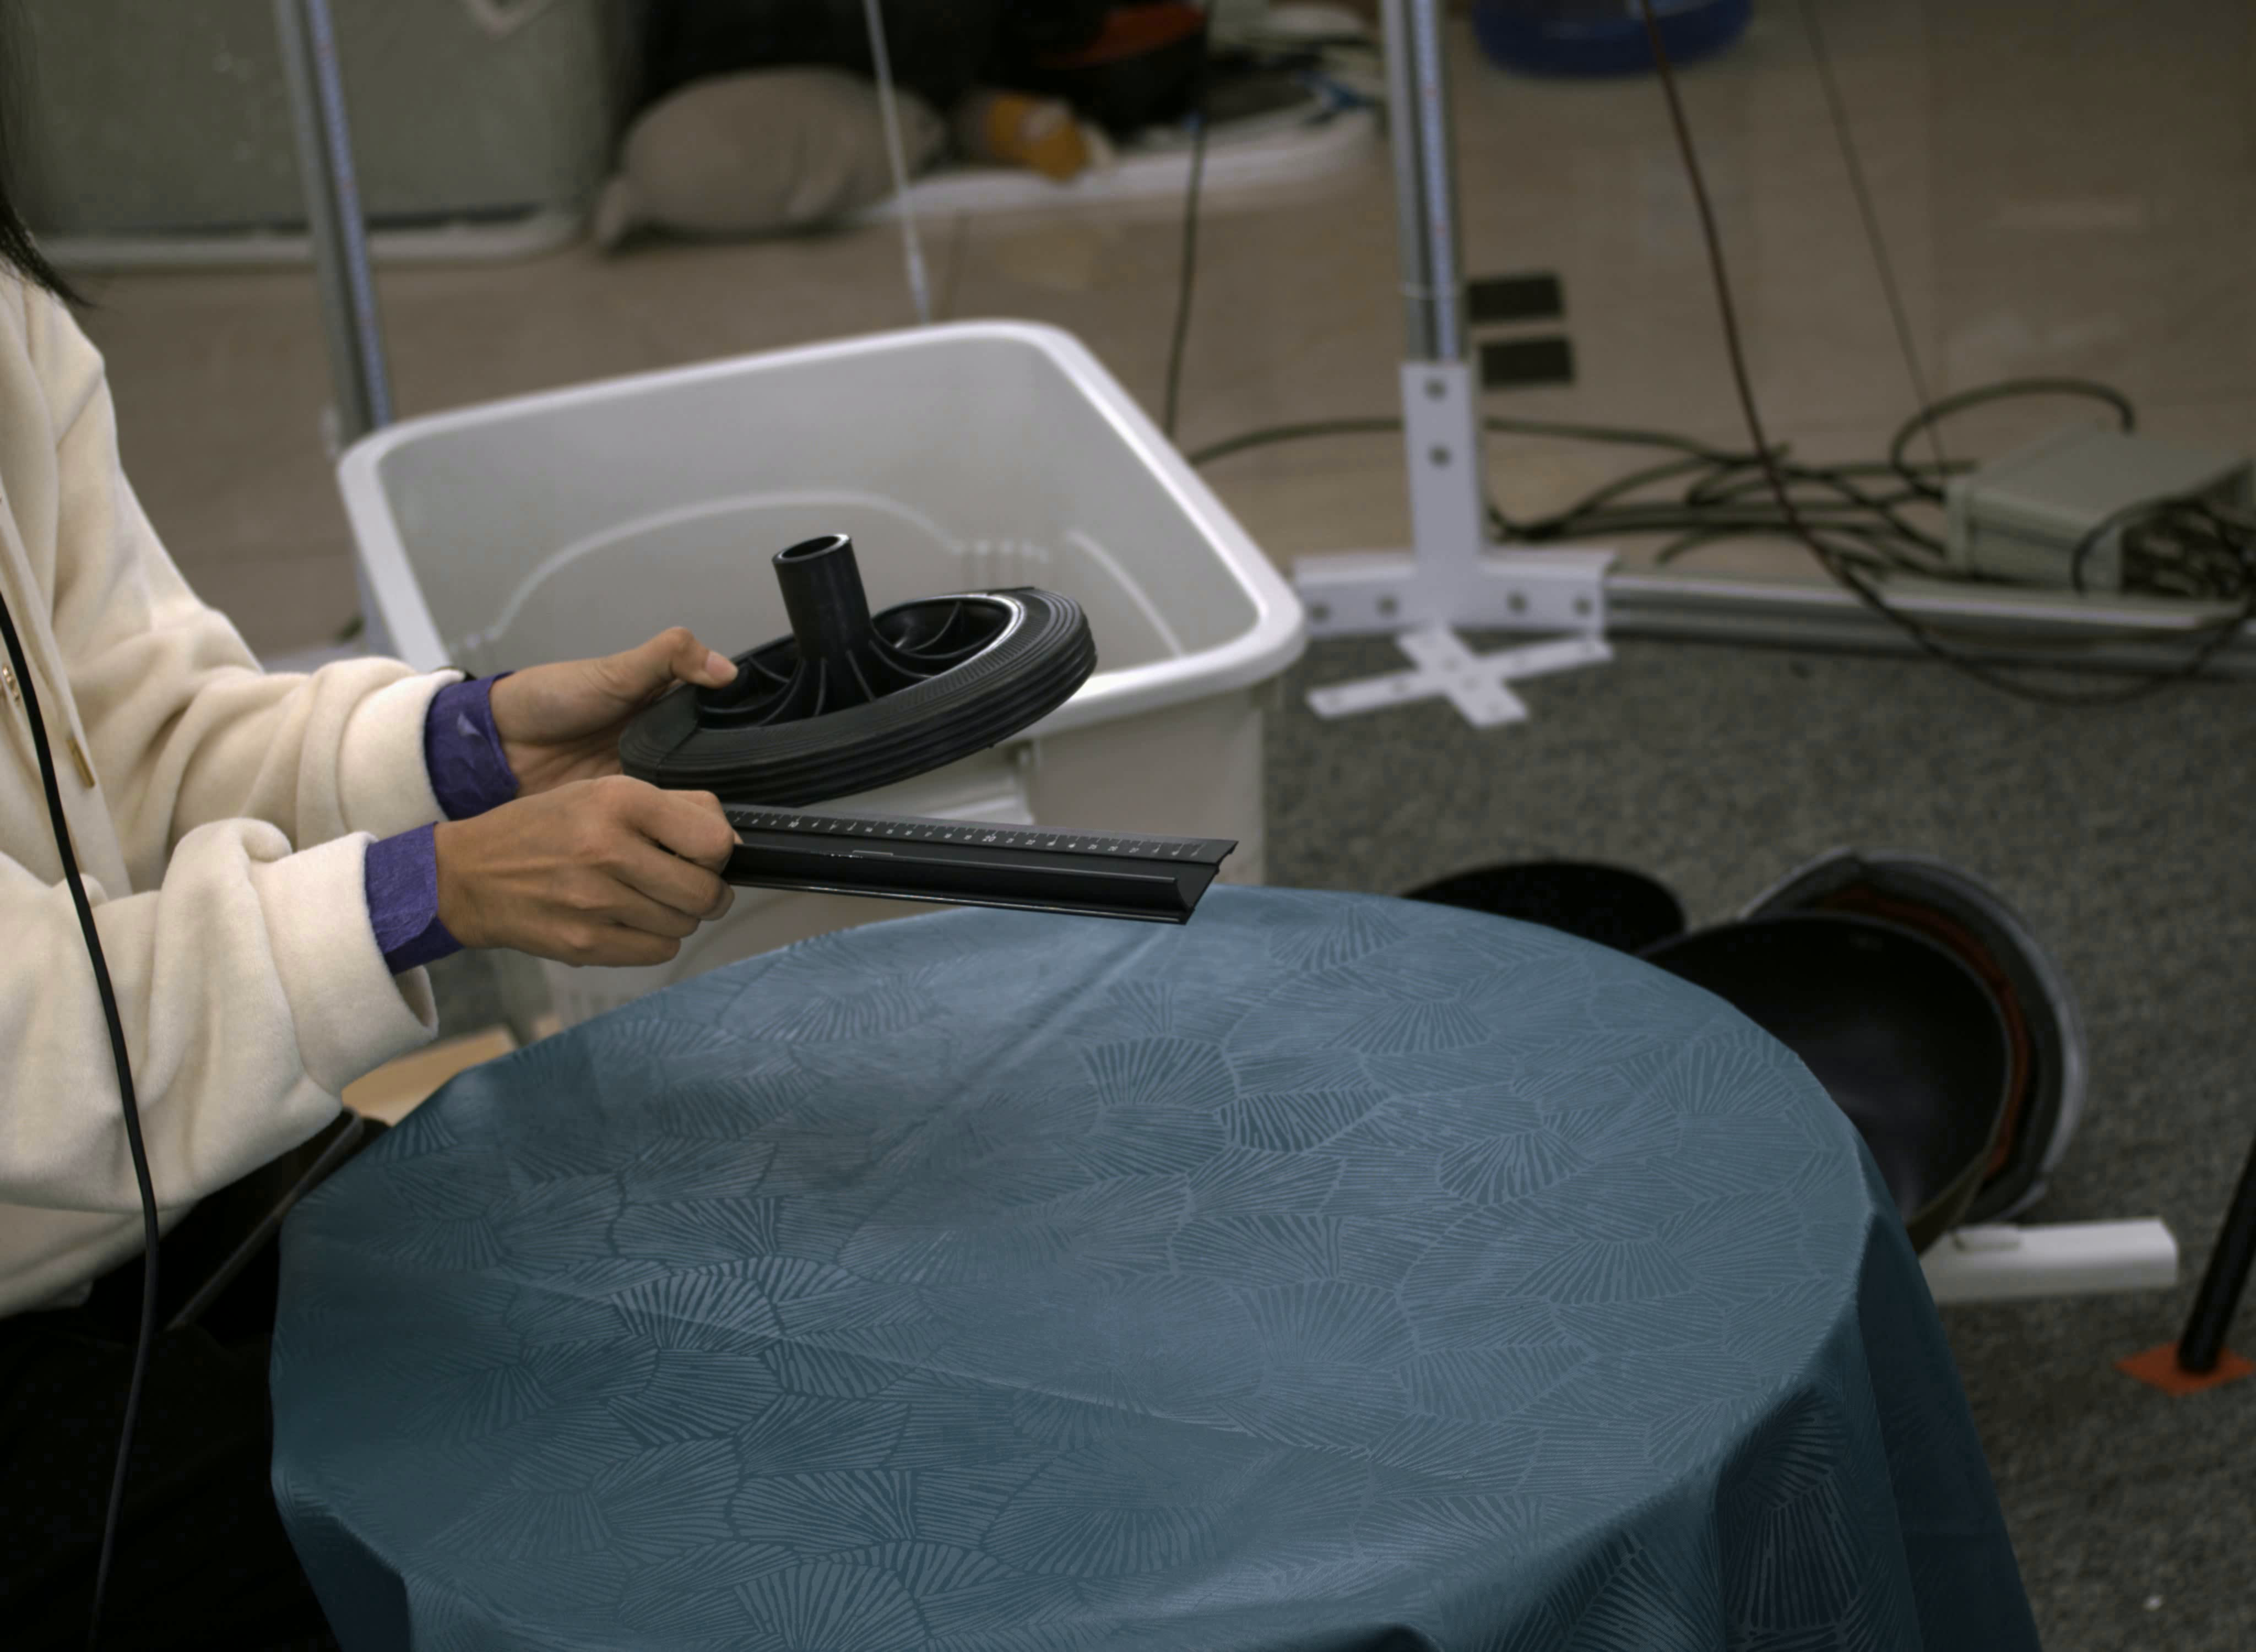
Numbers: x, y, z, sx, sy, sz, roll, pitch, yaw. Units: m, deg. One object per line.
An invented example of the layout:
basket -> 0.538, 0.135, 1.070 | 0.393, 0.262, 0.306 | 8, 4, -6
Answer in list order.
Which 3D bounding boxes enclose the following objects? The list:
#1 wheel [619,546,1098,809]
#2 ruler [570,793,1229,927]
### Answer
wheel -> -0.109, -0.065, 2.162 | 0.187, 0.080, 0.188 | -15, 16, 4
ruler -> -0.087, 0.006, 2.015 | 0.311, 0.017, 0.039 | 5, 49, 44
